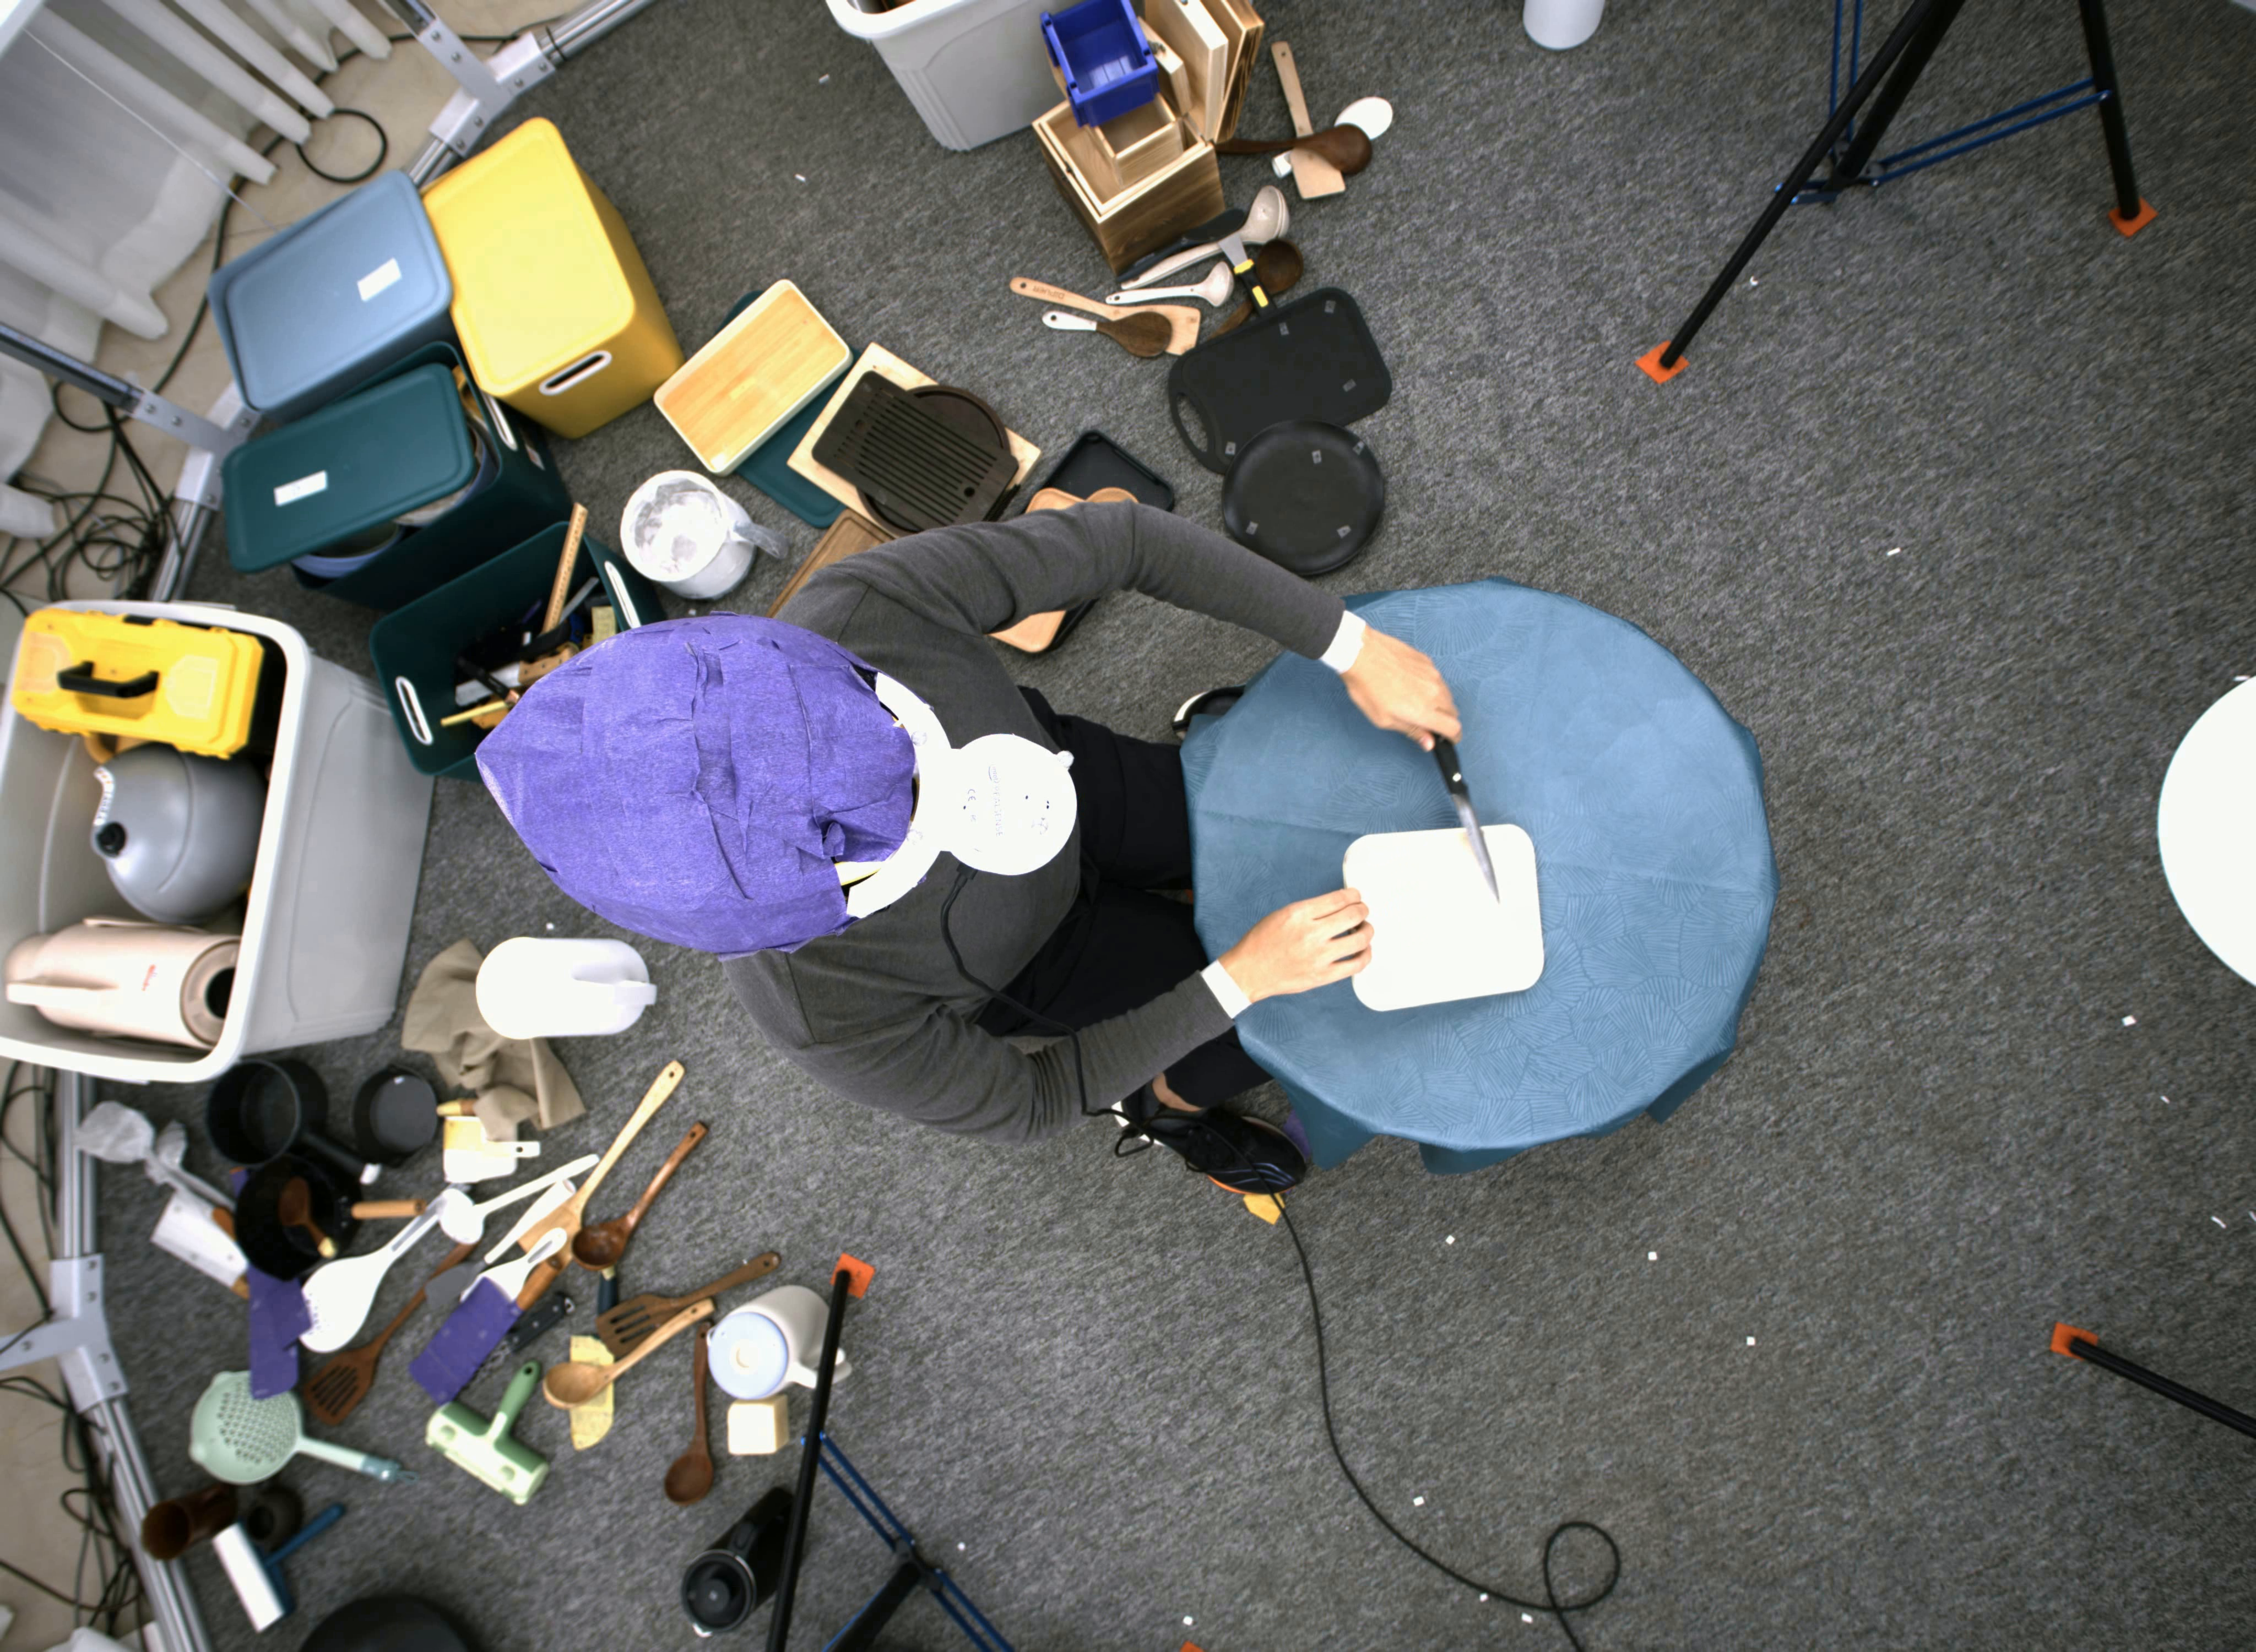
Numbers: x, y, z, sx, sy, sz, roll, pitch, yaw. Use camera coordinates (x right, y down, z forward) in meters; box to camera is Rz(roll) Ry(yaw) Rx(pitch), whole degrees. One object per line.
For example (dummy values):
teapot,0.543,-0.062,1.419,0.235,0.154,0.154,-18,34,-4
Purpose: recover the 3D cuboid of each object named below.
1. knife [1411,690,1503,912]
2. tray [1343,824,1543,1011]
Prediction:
knife,0.332,-0.027,1.383,0.024,0.016,0.237,-17,84,-23
tray,0.315,0.087,1.374,0.238,0.017,0.171,-4,91,-26
